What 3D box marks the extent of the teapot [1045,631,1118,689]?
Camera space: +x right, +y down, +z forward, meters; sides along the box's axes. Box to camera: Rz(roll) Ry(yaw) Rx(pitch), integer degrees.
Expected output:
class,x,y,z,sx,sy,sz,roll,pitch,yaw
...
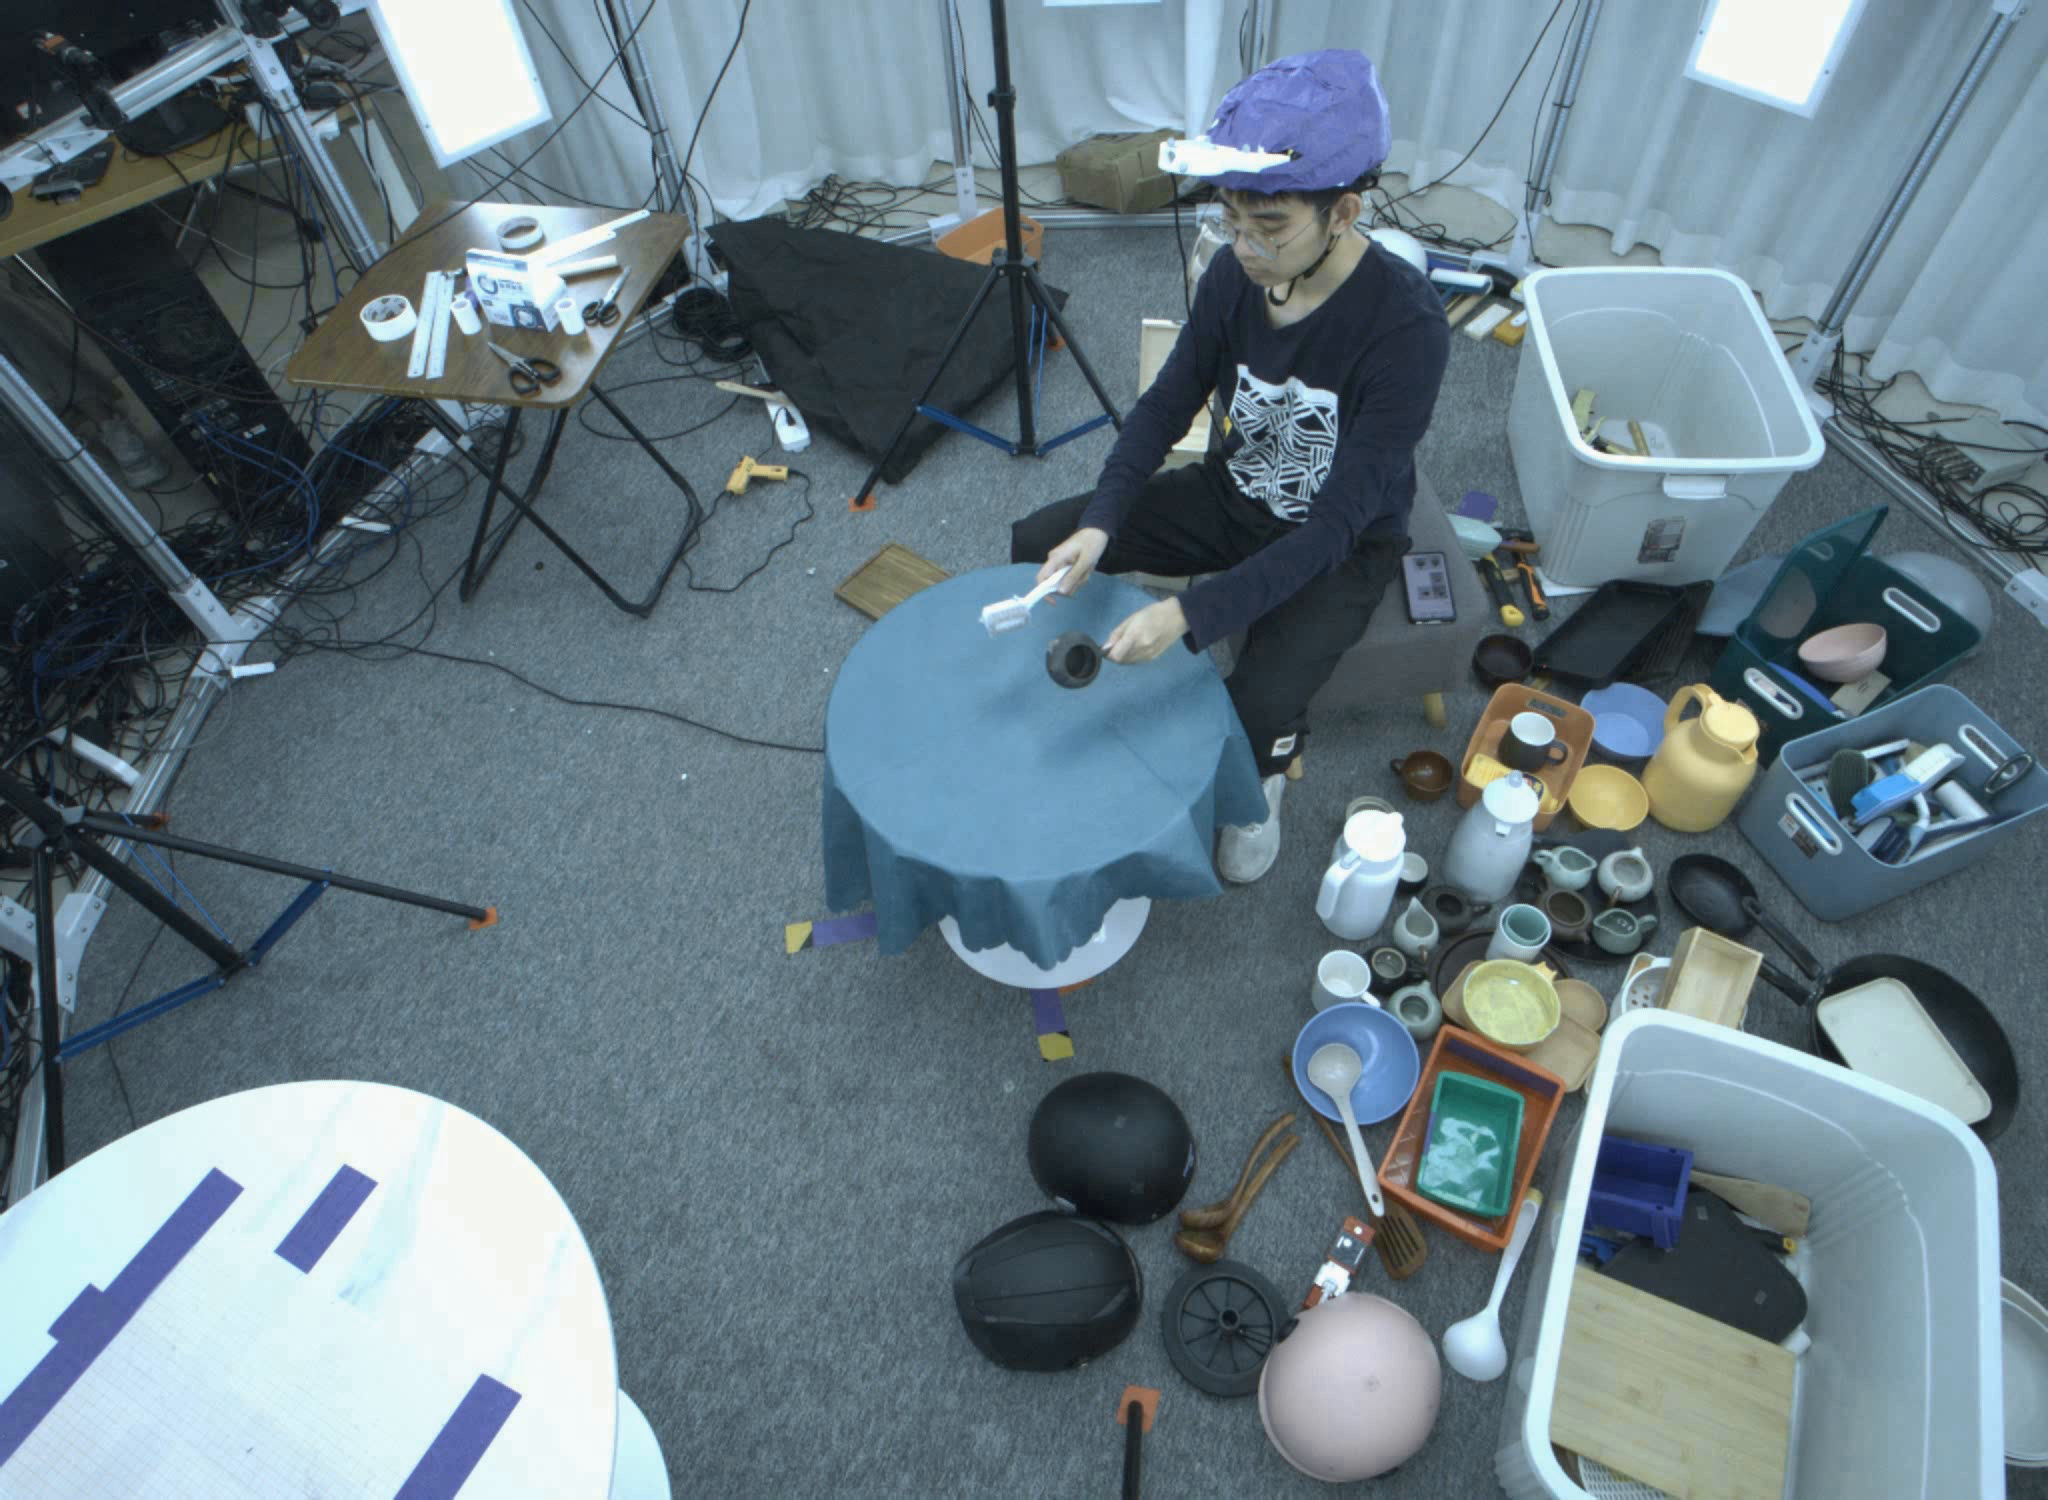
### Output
class,x,y,z,sx,sy,sz,roll,pitch,yaw
teapot,0.081,-0.131,1.744,0.115,0.083,0.052,-20,16,-17

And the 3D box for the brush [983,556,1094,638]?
class,x,y,z,sx,sy,sz,roll,pitch,yaw
brush,0.034,-0.229,1.828,0.049,0.034,0.246,39,51,25
